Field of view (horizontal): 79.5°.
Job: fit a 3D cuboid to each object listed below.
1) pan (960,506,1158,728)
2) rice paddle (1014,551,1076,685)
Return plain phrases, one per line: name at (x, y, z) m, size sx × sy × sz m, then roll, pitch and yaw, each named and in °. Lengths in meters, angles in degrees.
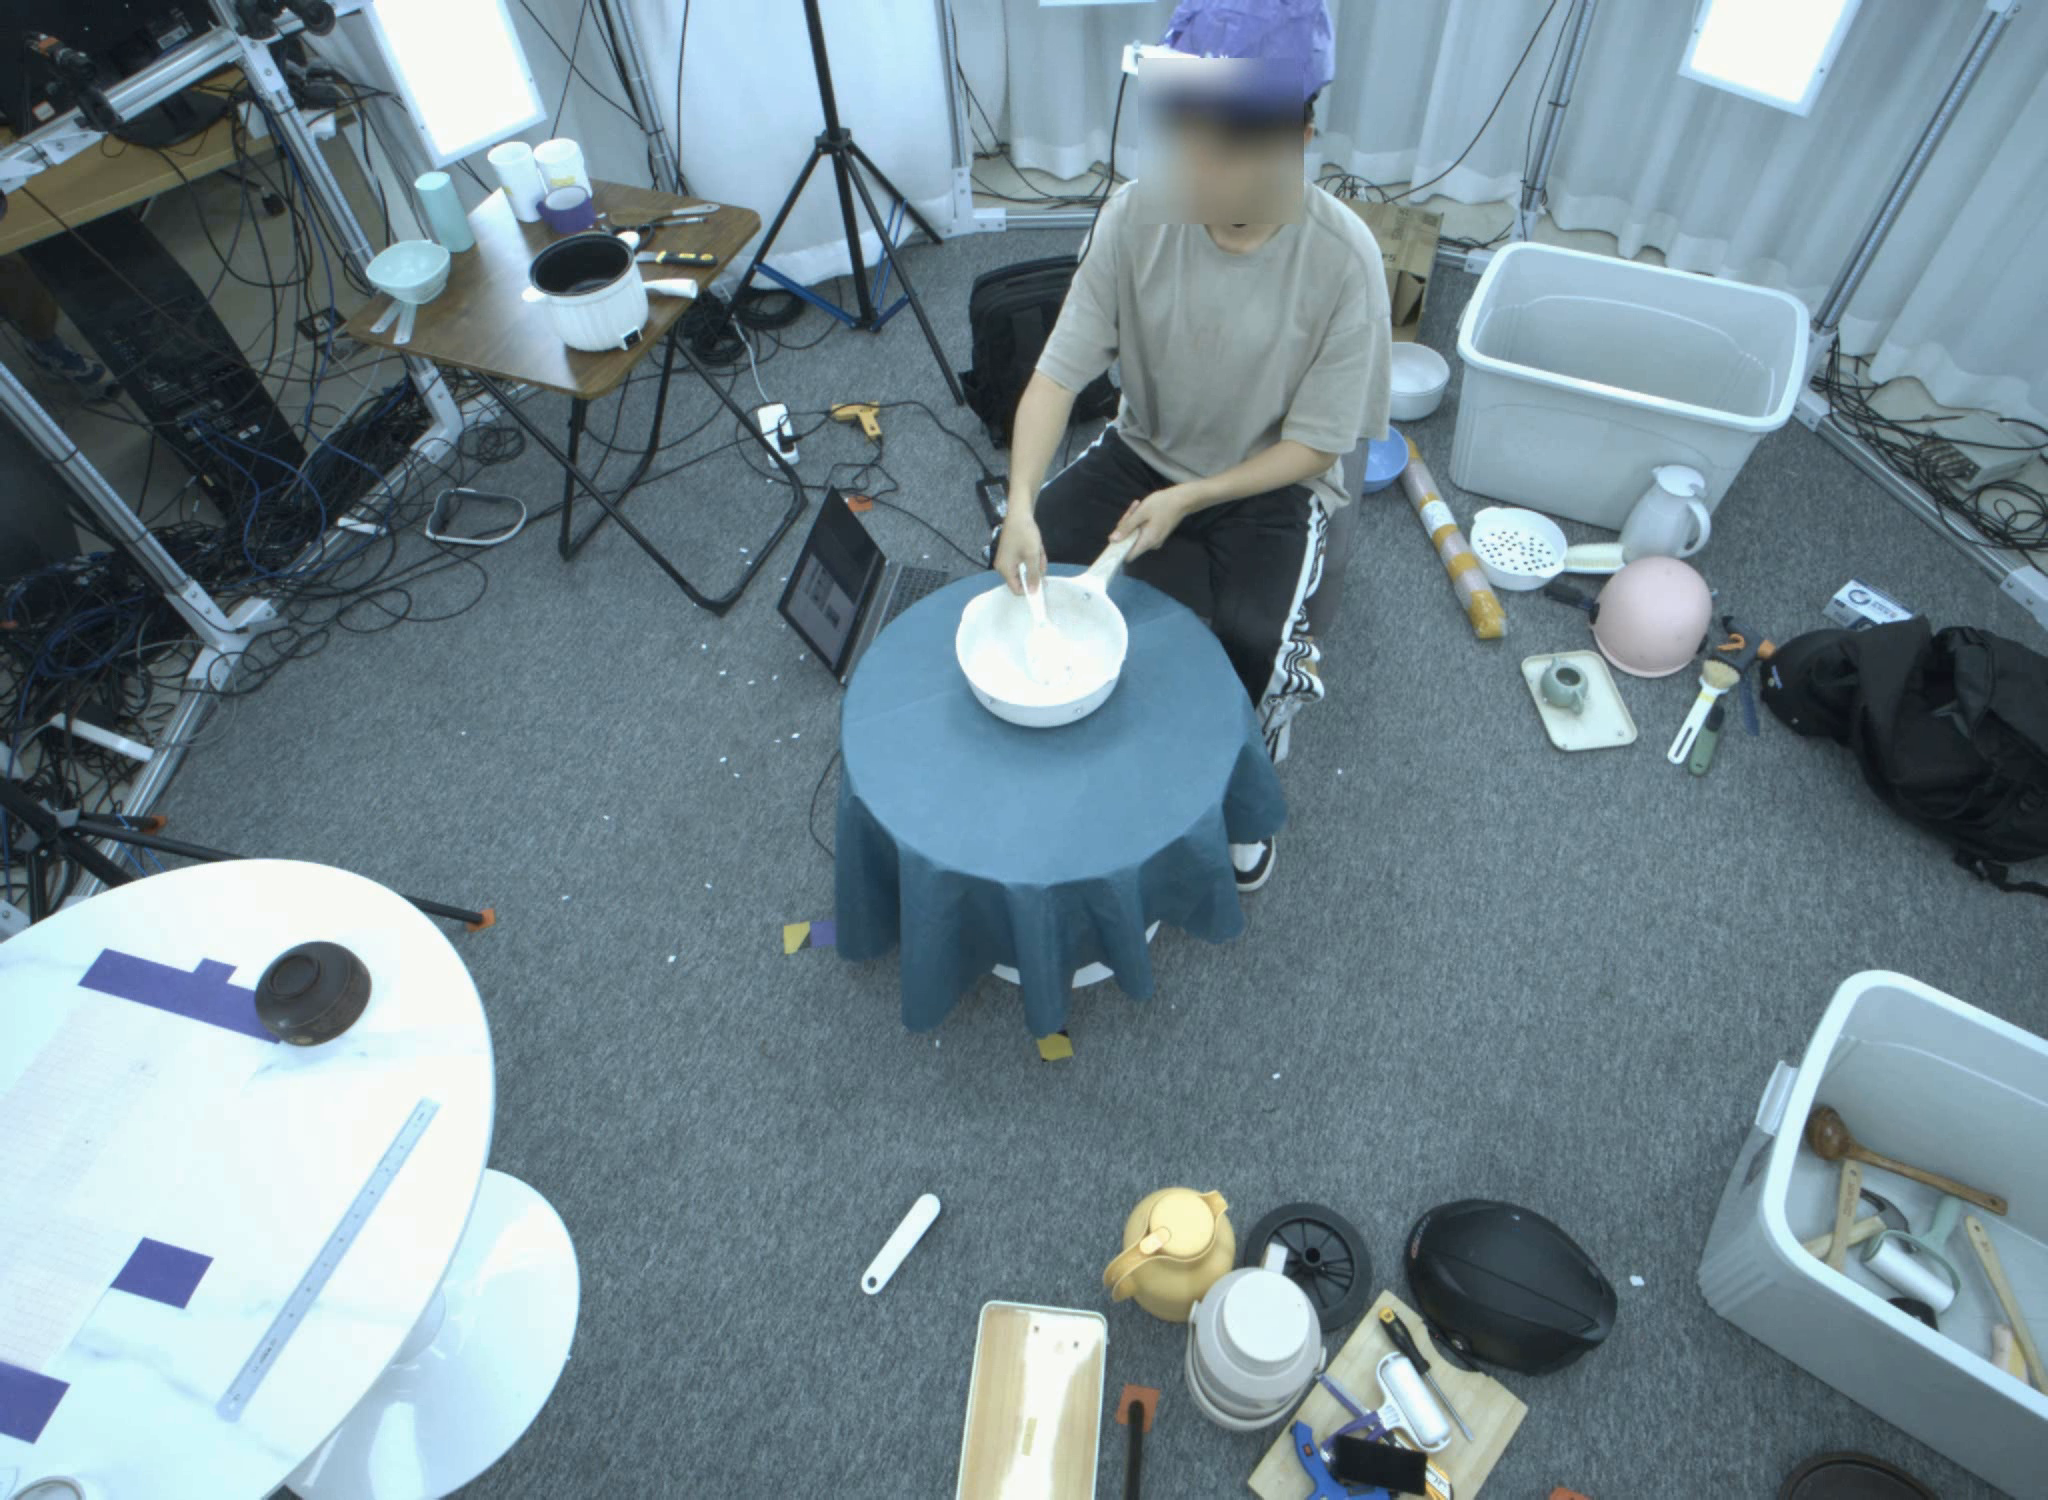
pan at (0.085, -0.205, 1.868) m, size 0.259 × 0.103 × 0.437 m, roll 27°, pitch 60°, yaw 22°
rice paddle at (0.027, -0.197, 1.838) m, size 0.068 × 0.029 × 0.205 m, roll -15°, pitch 90°, yaw 13°
